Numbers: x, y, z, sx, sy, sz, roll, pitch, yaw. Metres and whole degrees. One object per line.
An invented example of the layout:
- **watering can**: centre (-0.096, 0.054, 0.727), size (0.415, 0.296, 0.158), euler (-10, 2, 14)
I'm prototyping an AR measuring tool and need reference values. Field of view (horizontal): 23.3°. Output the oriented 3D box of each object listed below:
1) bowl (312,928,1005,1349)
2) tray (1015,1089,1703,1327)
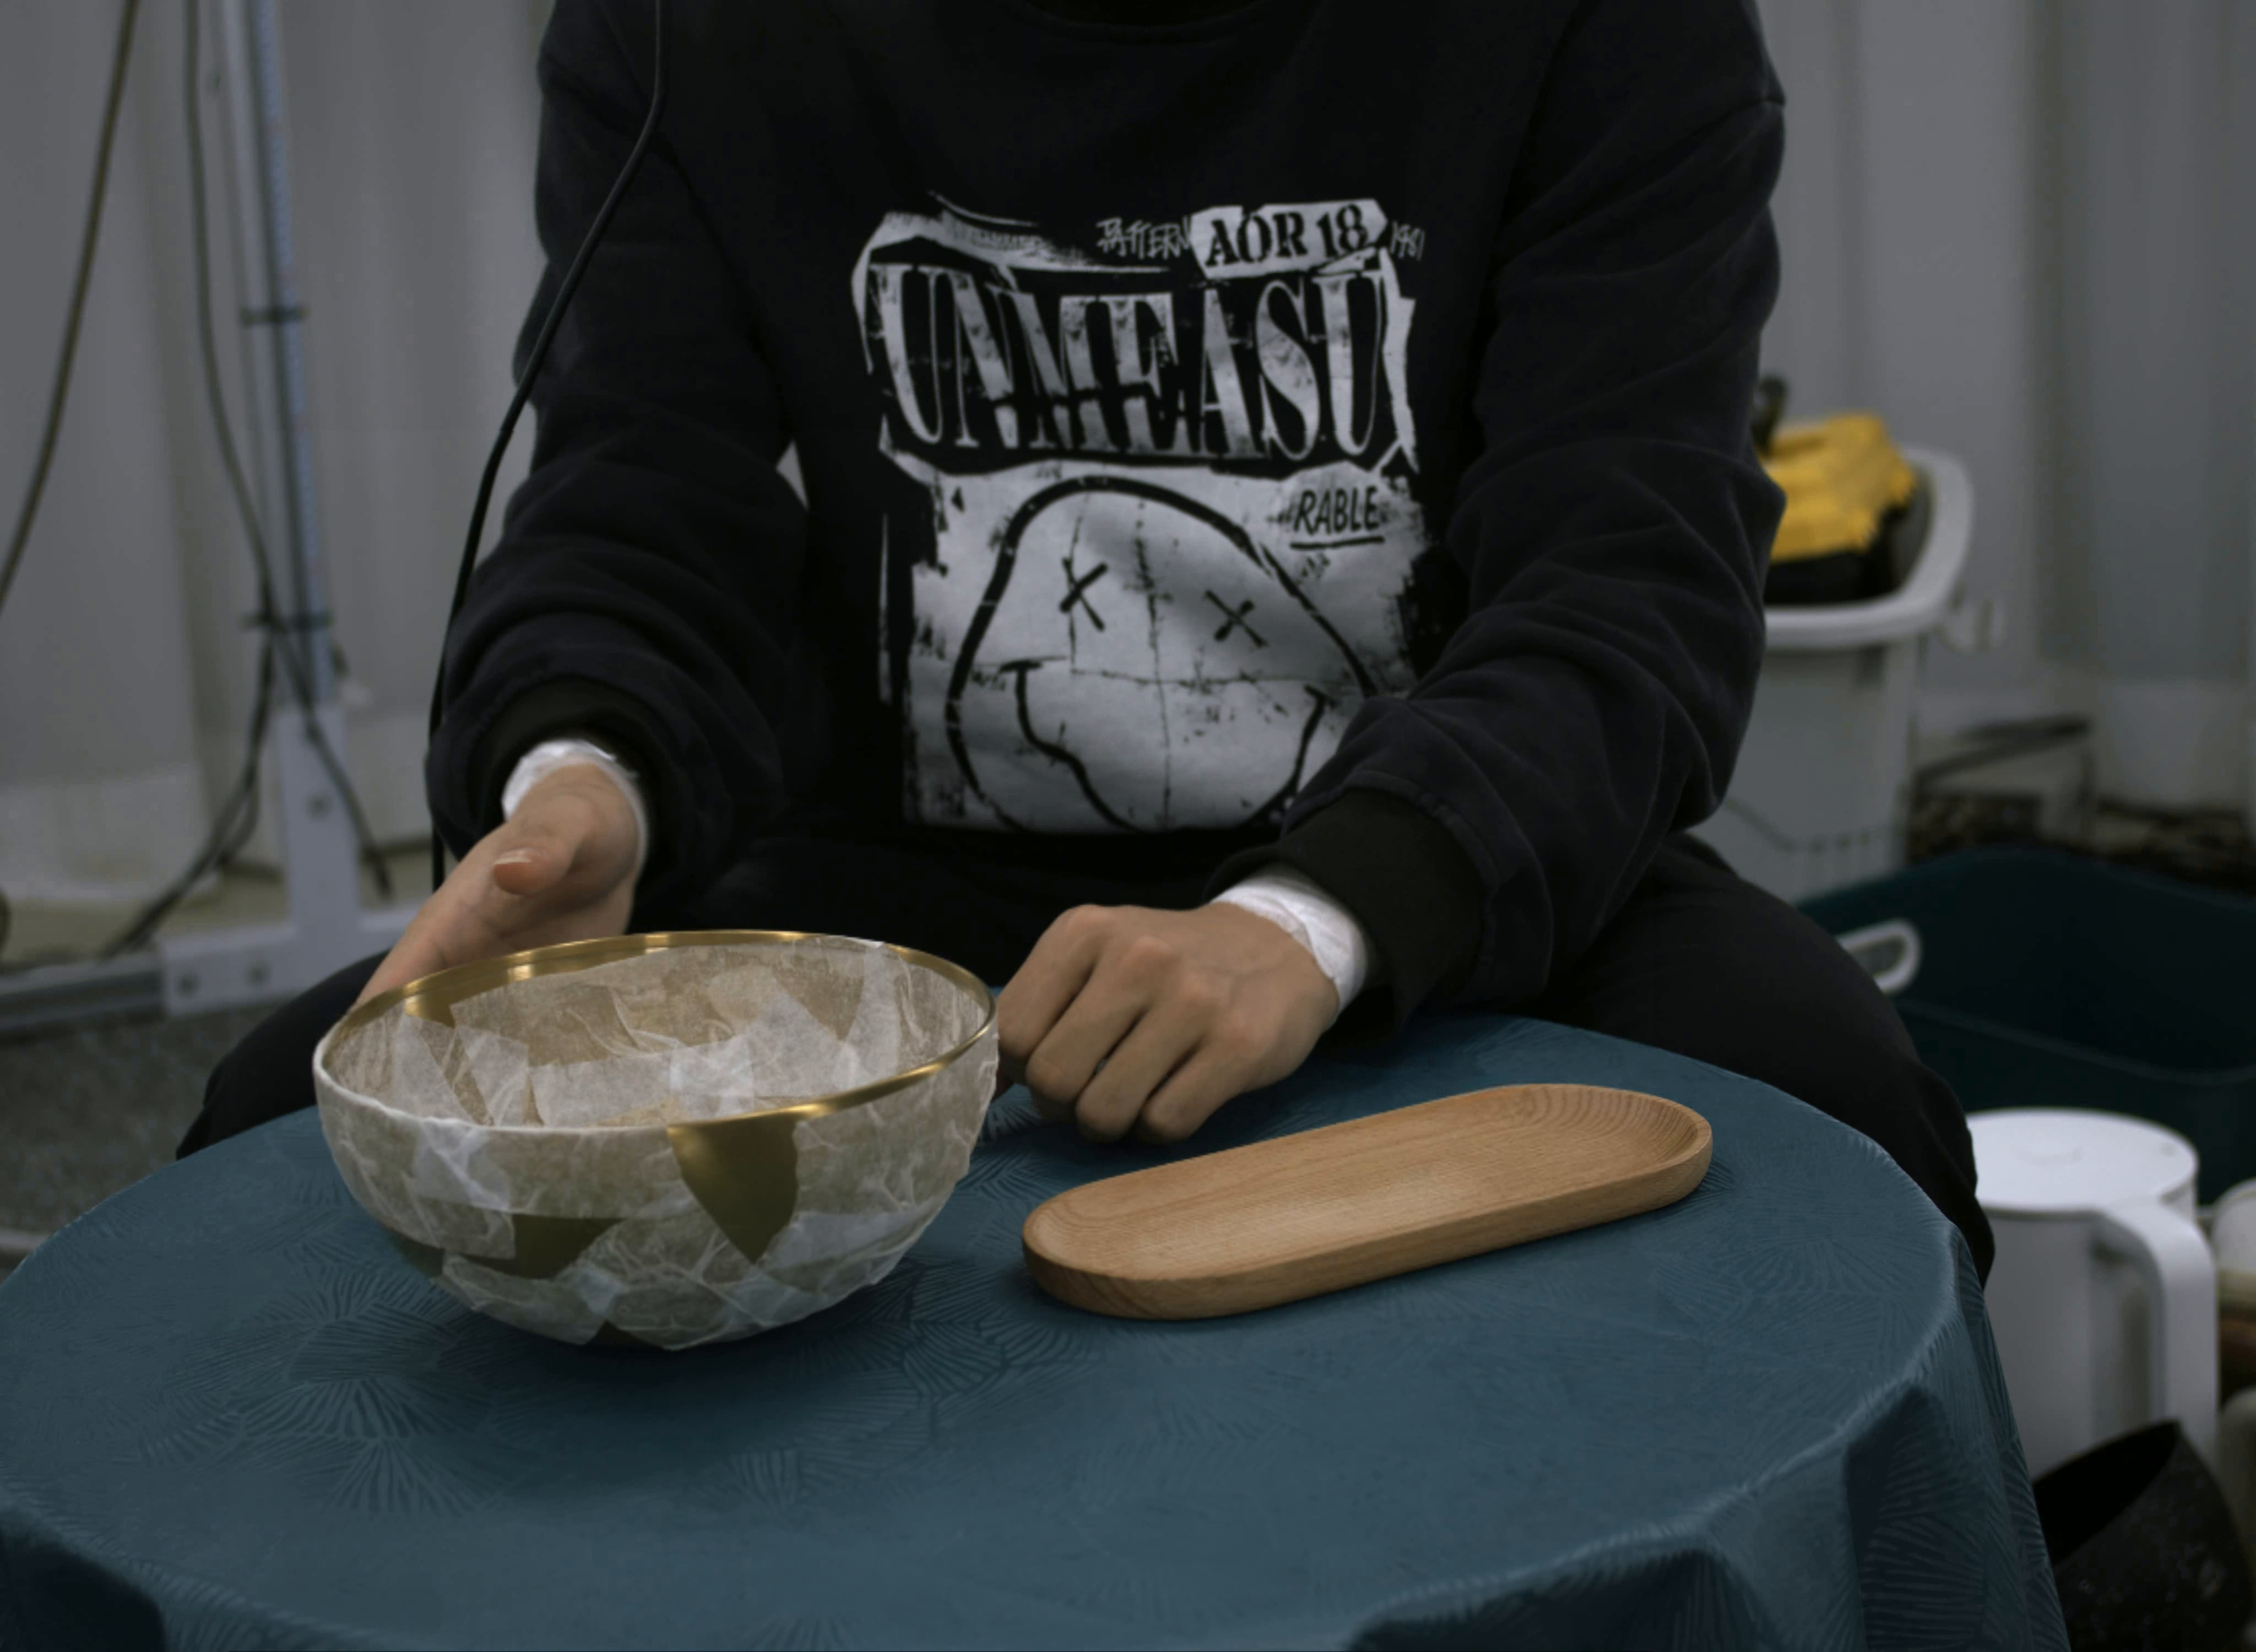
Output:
- **bowl**: centre (-0.132, 0.100, 1.617), size (0.214, 0.094, 0.216), euler (-4, 14, 1)
- **tray**: centre (0.073, 0.116, 1.668), size (0.230, 0.020, 0.102), euler (-13, 16, -29)
